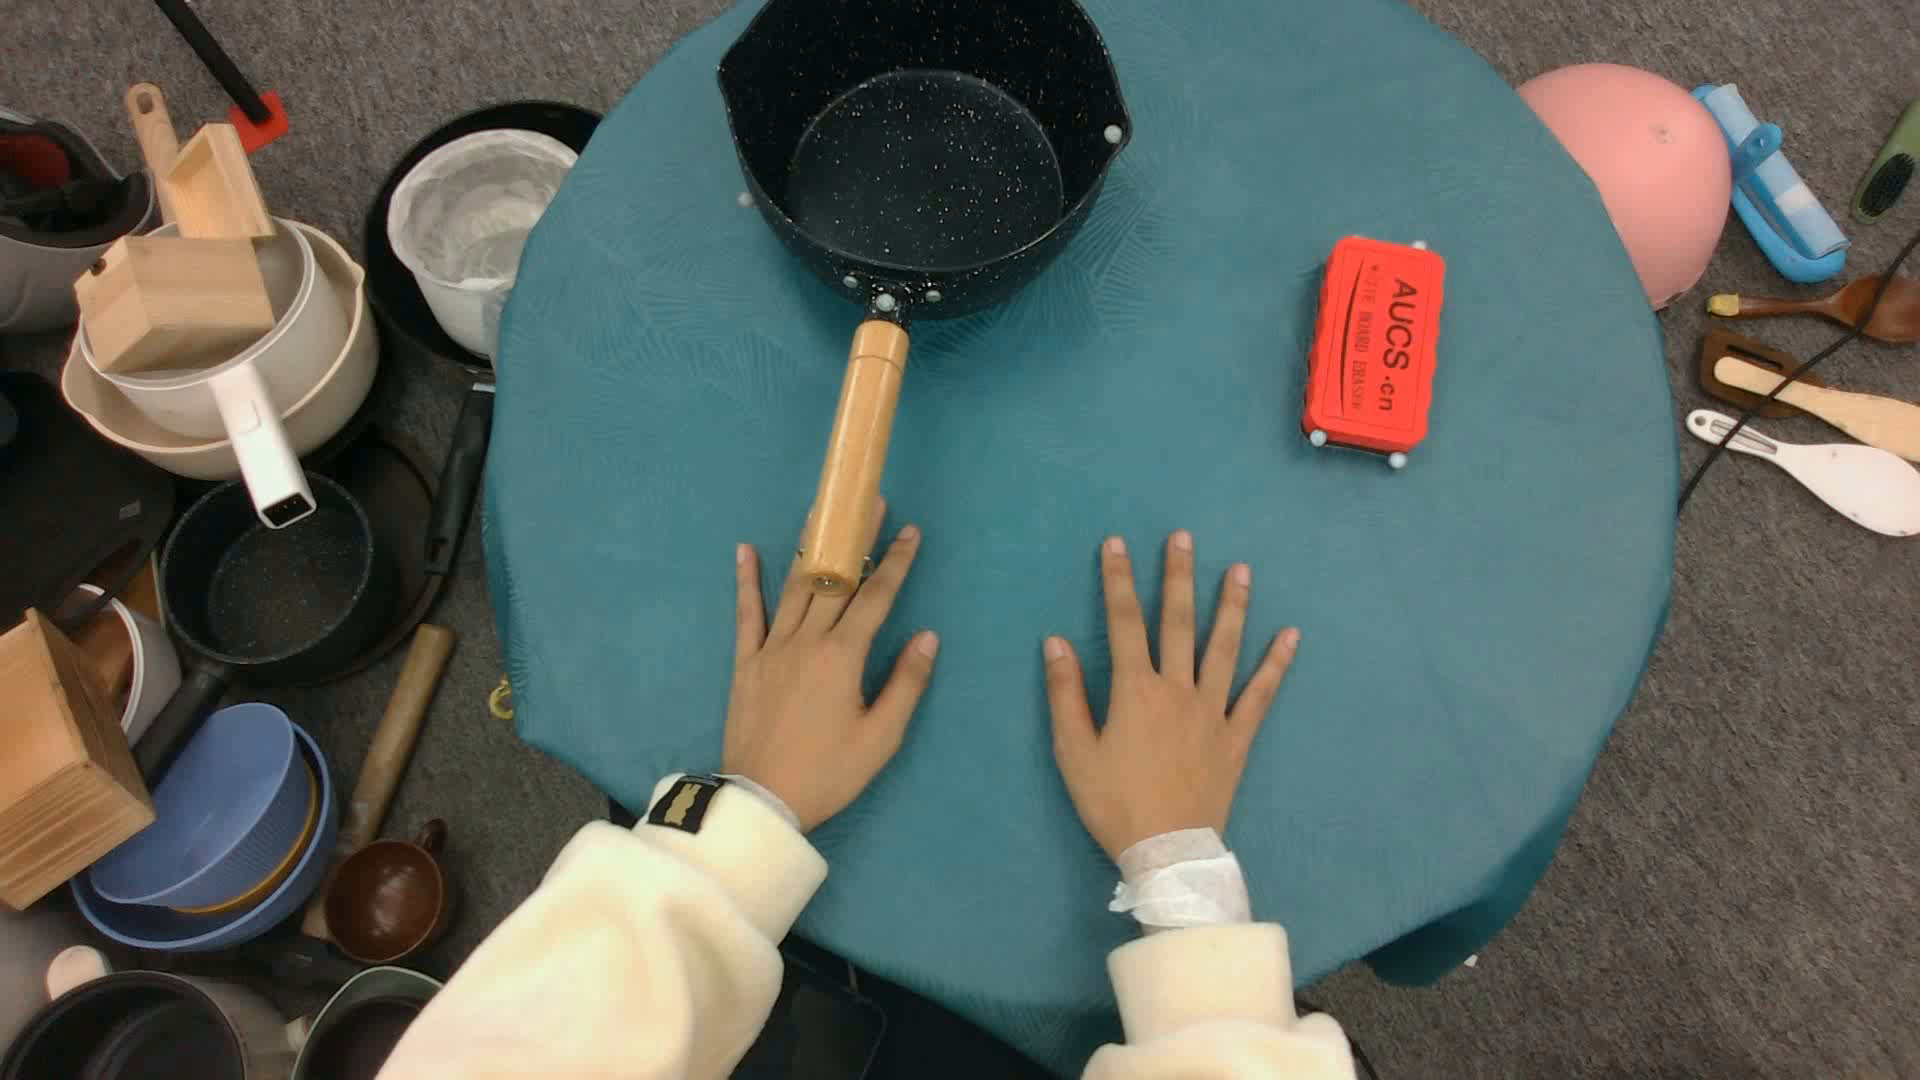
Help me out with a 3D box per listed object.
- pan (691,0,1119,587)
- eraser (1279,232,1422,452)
[{"bbox_3d":[-0.036,-0.128,0.658,0.207,0.108,0.344,8,70,0],"label":"pan"},{"bbox_3d":[0.200,-0.101,0.702,0.059,0.023,0.108,12,72,1],"label":"eraser"}]
